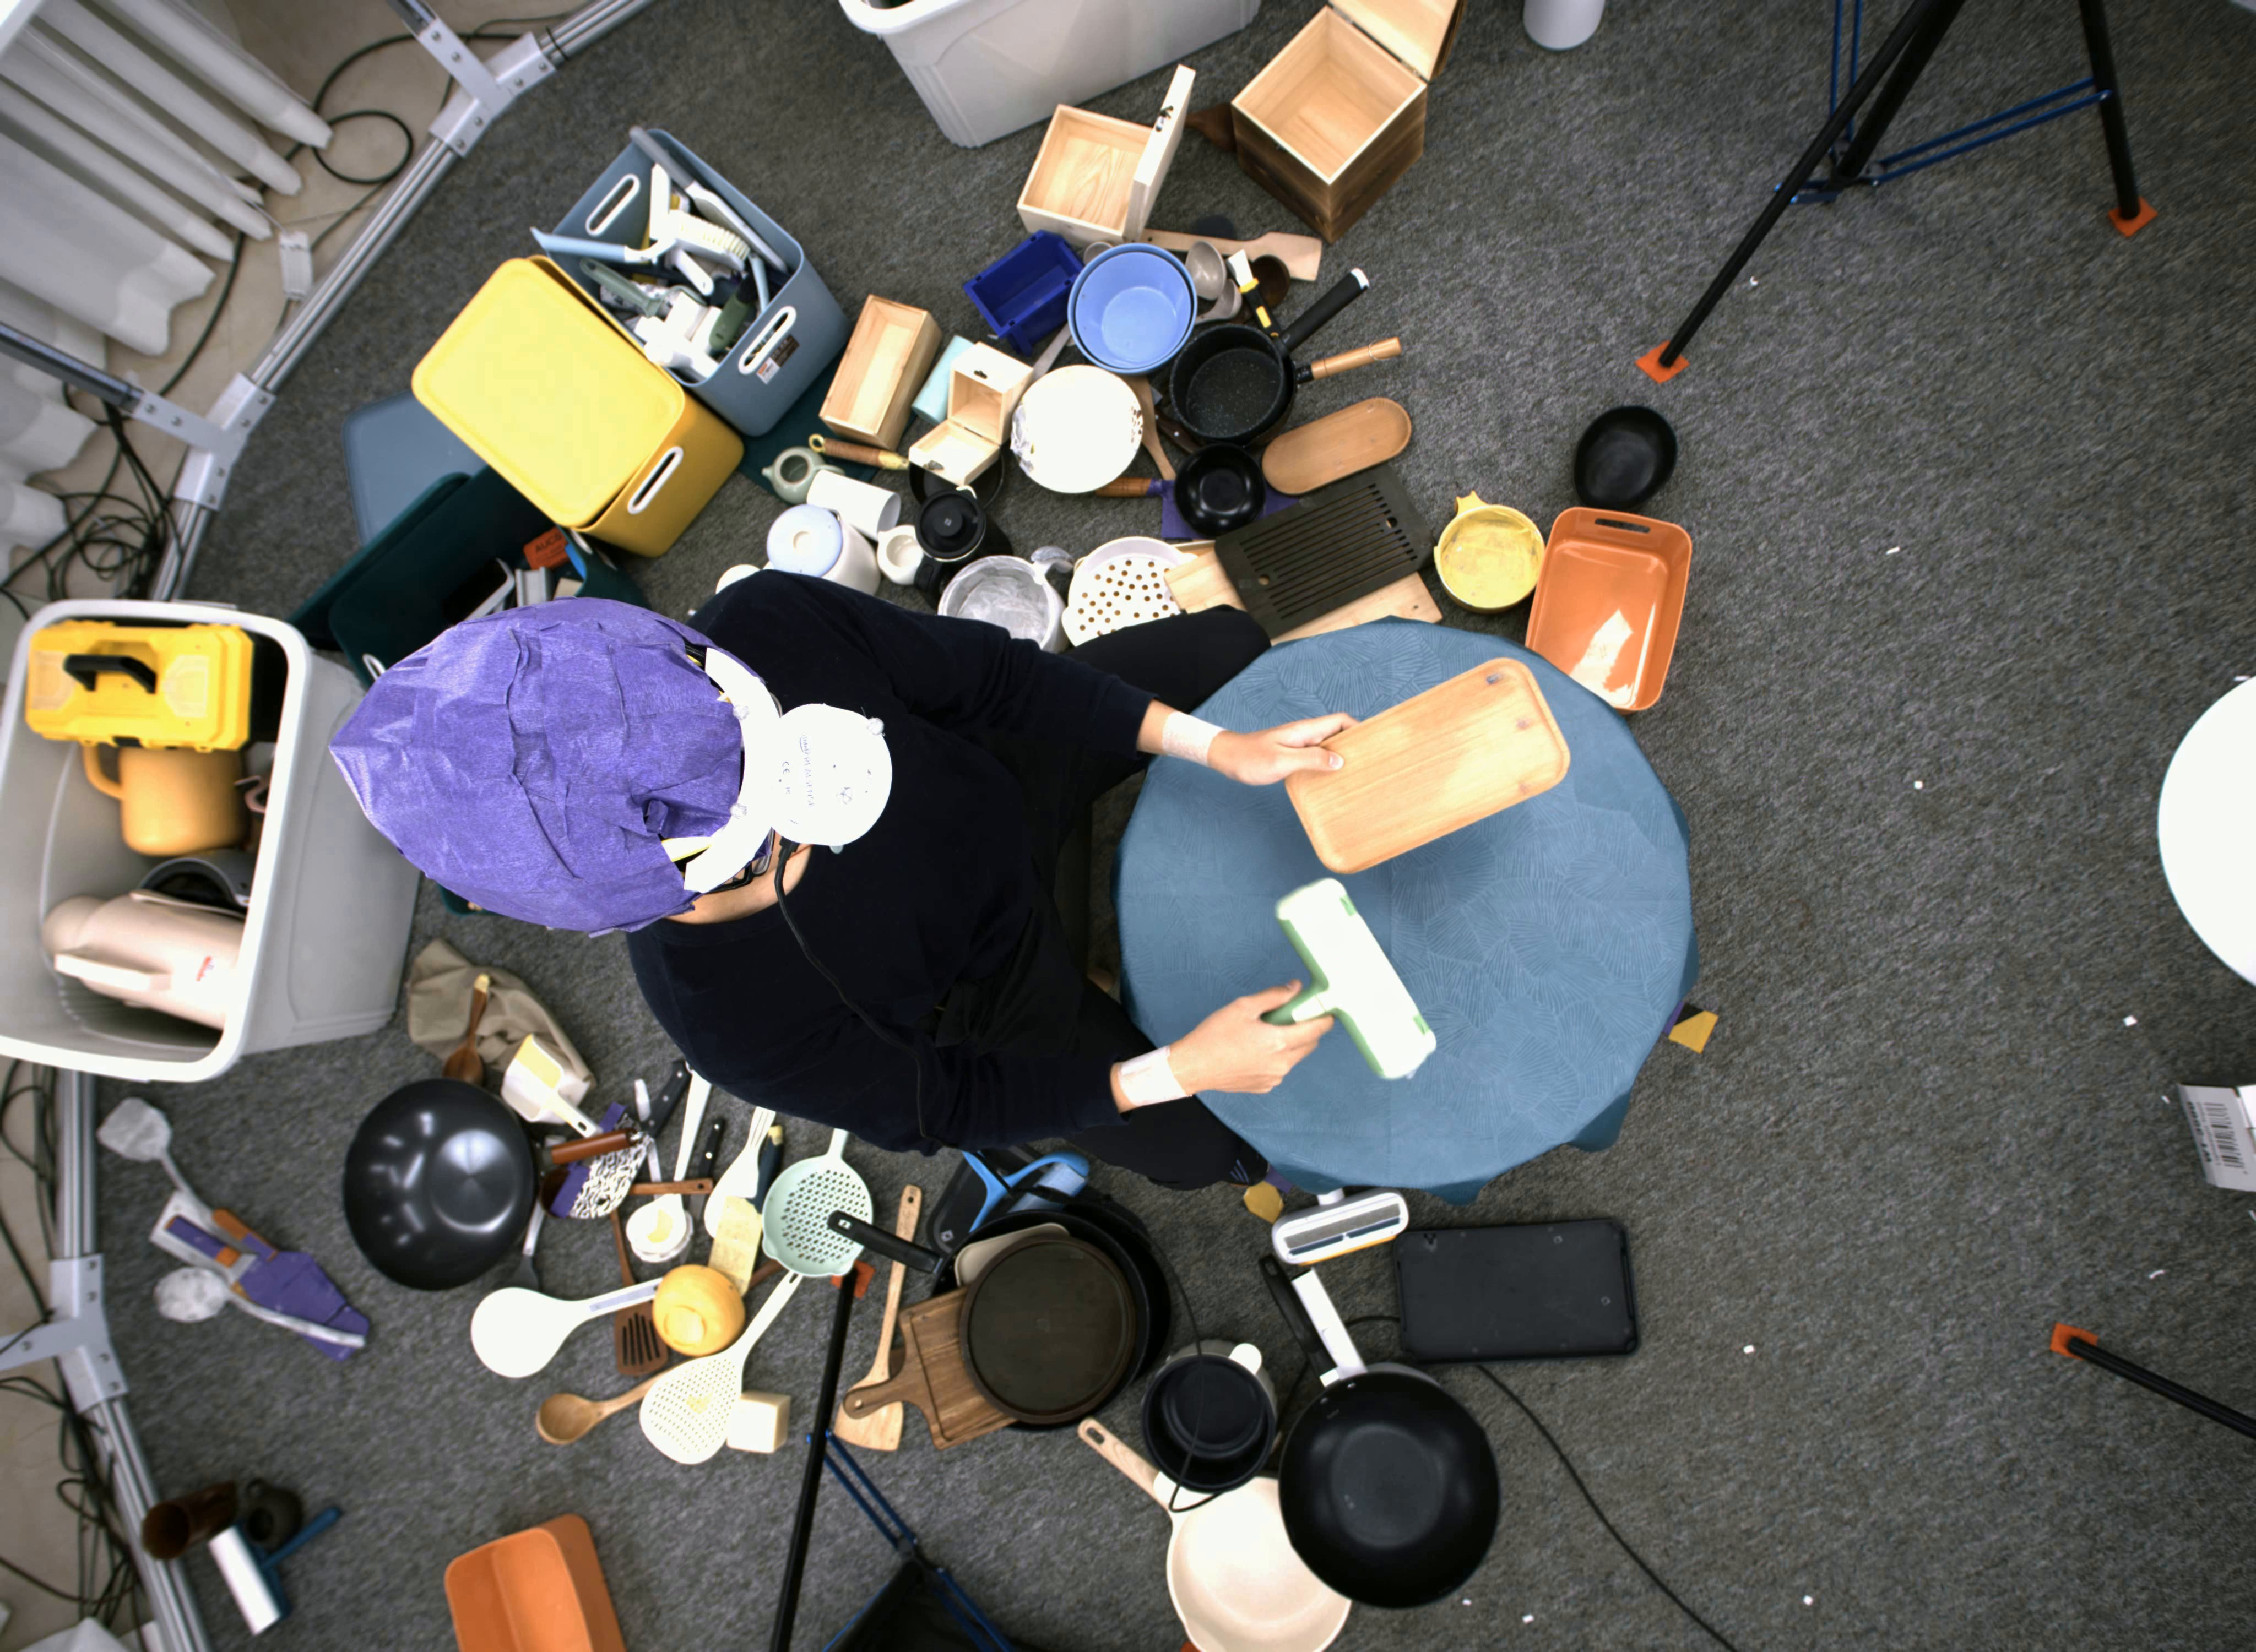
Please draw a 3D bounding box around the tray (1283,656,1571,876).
[{"bbox_3d":[0.269,-0.054,1.257,0.254,0.022,0.130,-26,90,26],"label":"tray"}]

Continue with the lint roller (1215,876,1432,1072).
[{"bbox_3d":[0.162,0.173,1.281,0.183,0.082,0.200,-37,102,-4],"label":"lint roller"}]
